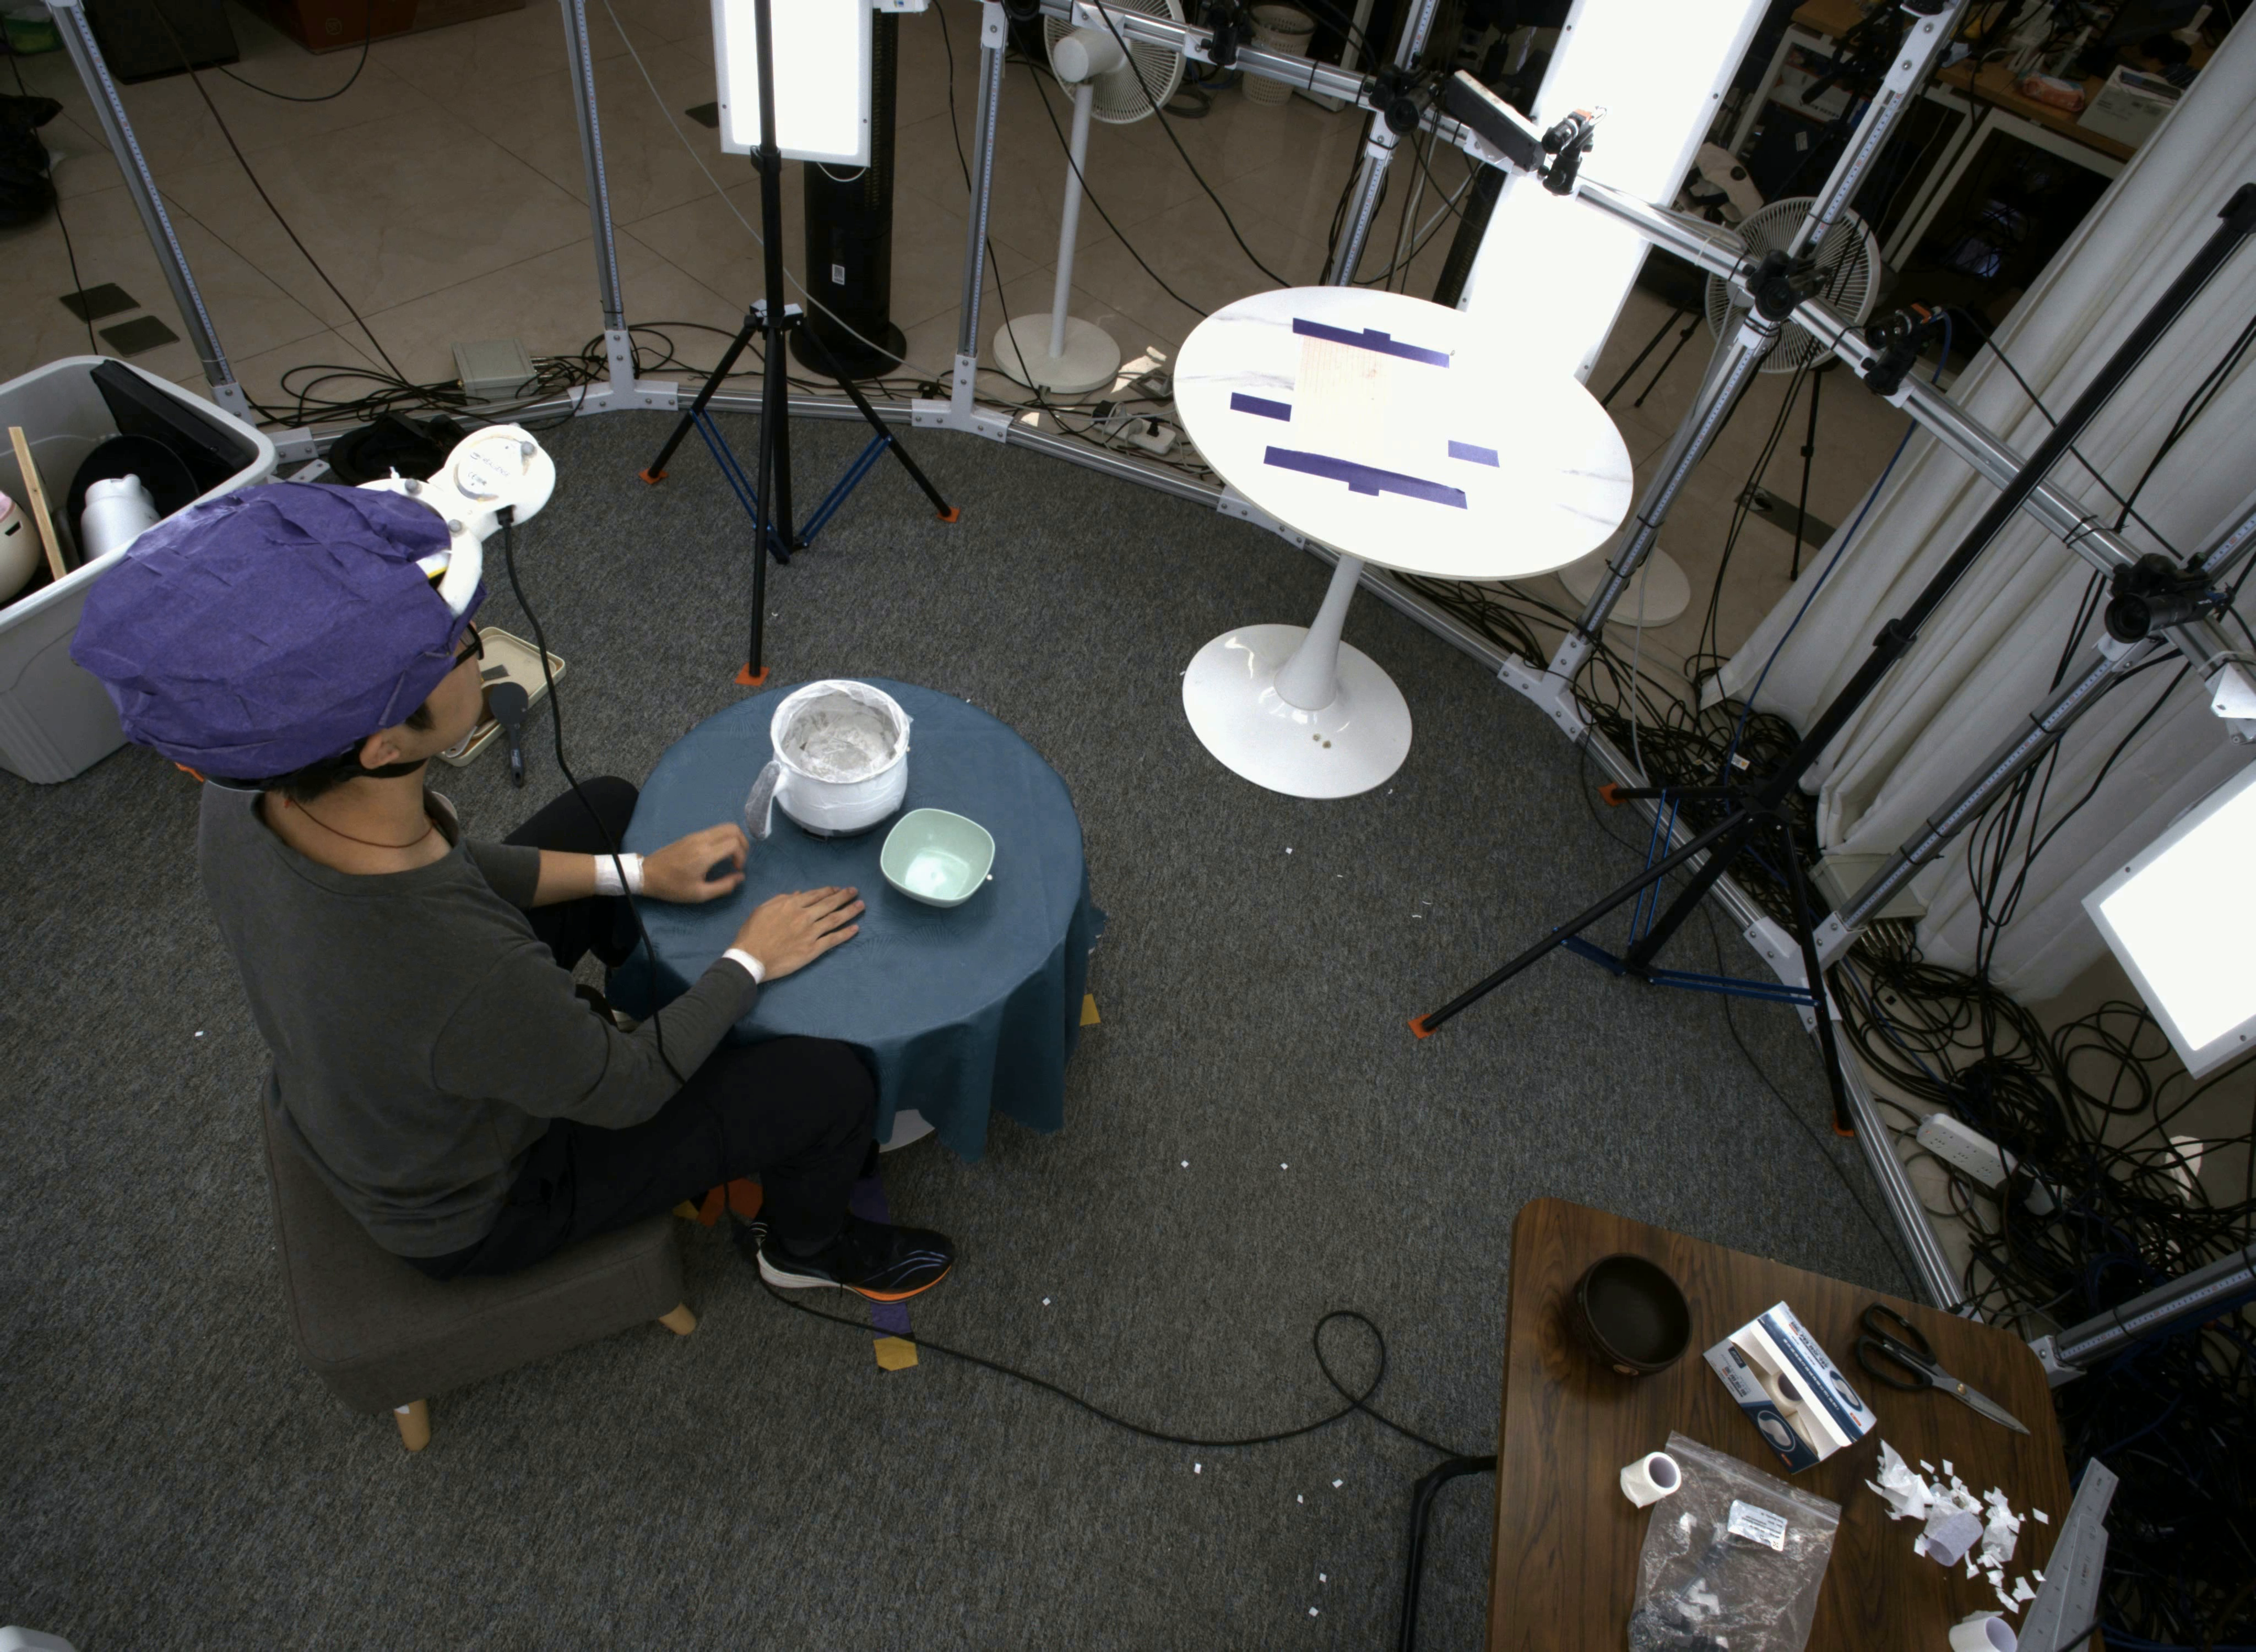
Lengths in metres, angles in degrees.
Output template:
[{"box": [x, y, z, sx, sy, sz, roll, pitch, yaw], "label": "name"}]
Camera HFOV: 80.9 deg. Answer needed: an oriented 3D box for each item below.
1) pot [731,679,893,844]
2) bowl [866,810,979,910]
[{"box": [-0.419, -0.070, 1.701, 0.175, 0.139, 0.234, 40, 56, 18], "label": "pot"}, {"box": [-0.269, 0.053, 1.699, 0.151, 0.060, 0.148, 8, 51, -9], "label": "bowl"}]
